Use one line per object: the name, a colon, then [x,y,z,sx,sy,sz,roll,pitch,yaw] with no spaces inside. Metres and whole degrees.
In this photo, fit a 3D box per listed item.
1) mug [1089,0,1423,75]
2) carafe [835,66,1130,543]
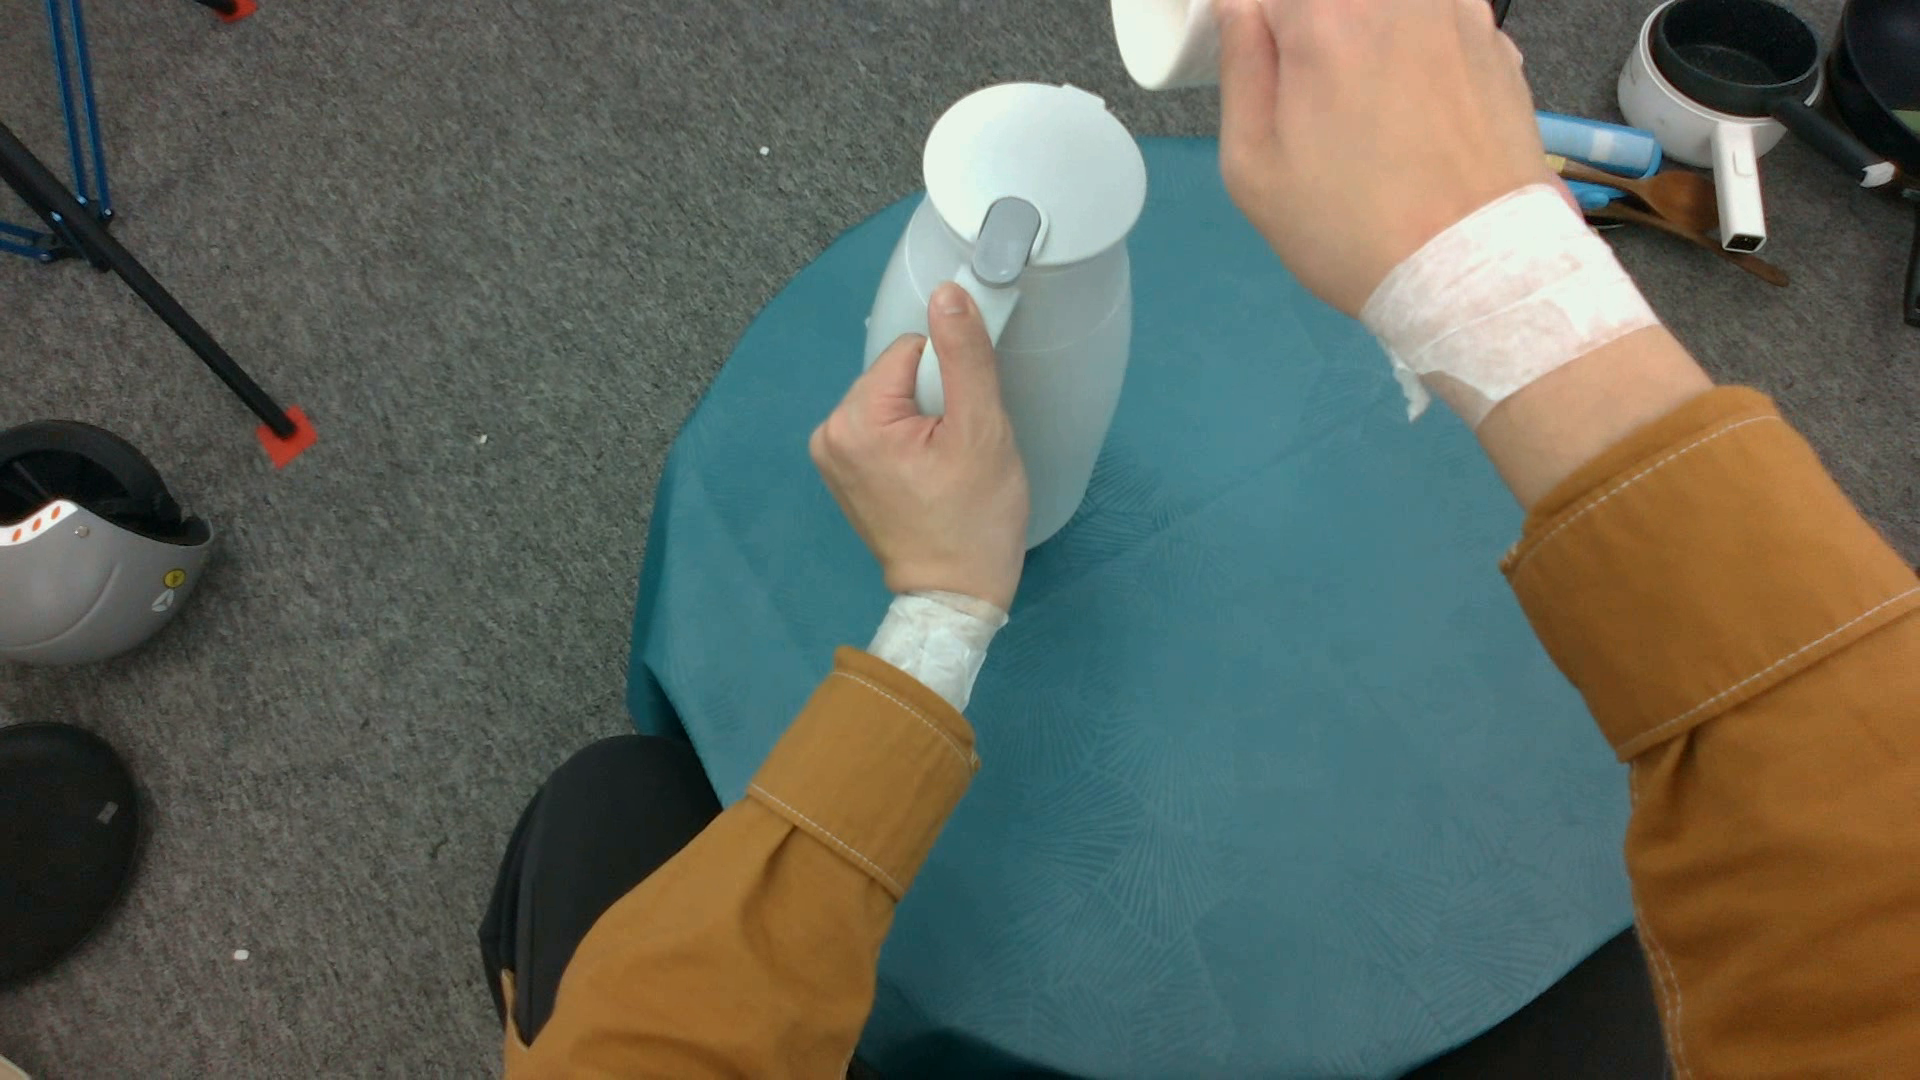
mug: [0.108,-0.202,0.474,0.102,0.084,0.118,-9,47,-10]
carafe: [0.005,-0.092,0.653,0.132,0.247,0.168,23,65,2]
